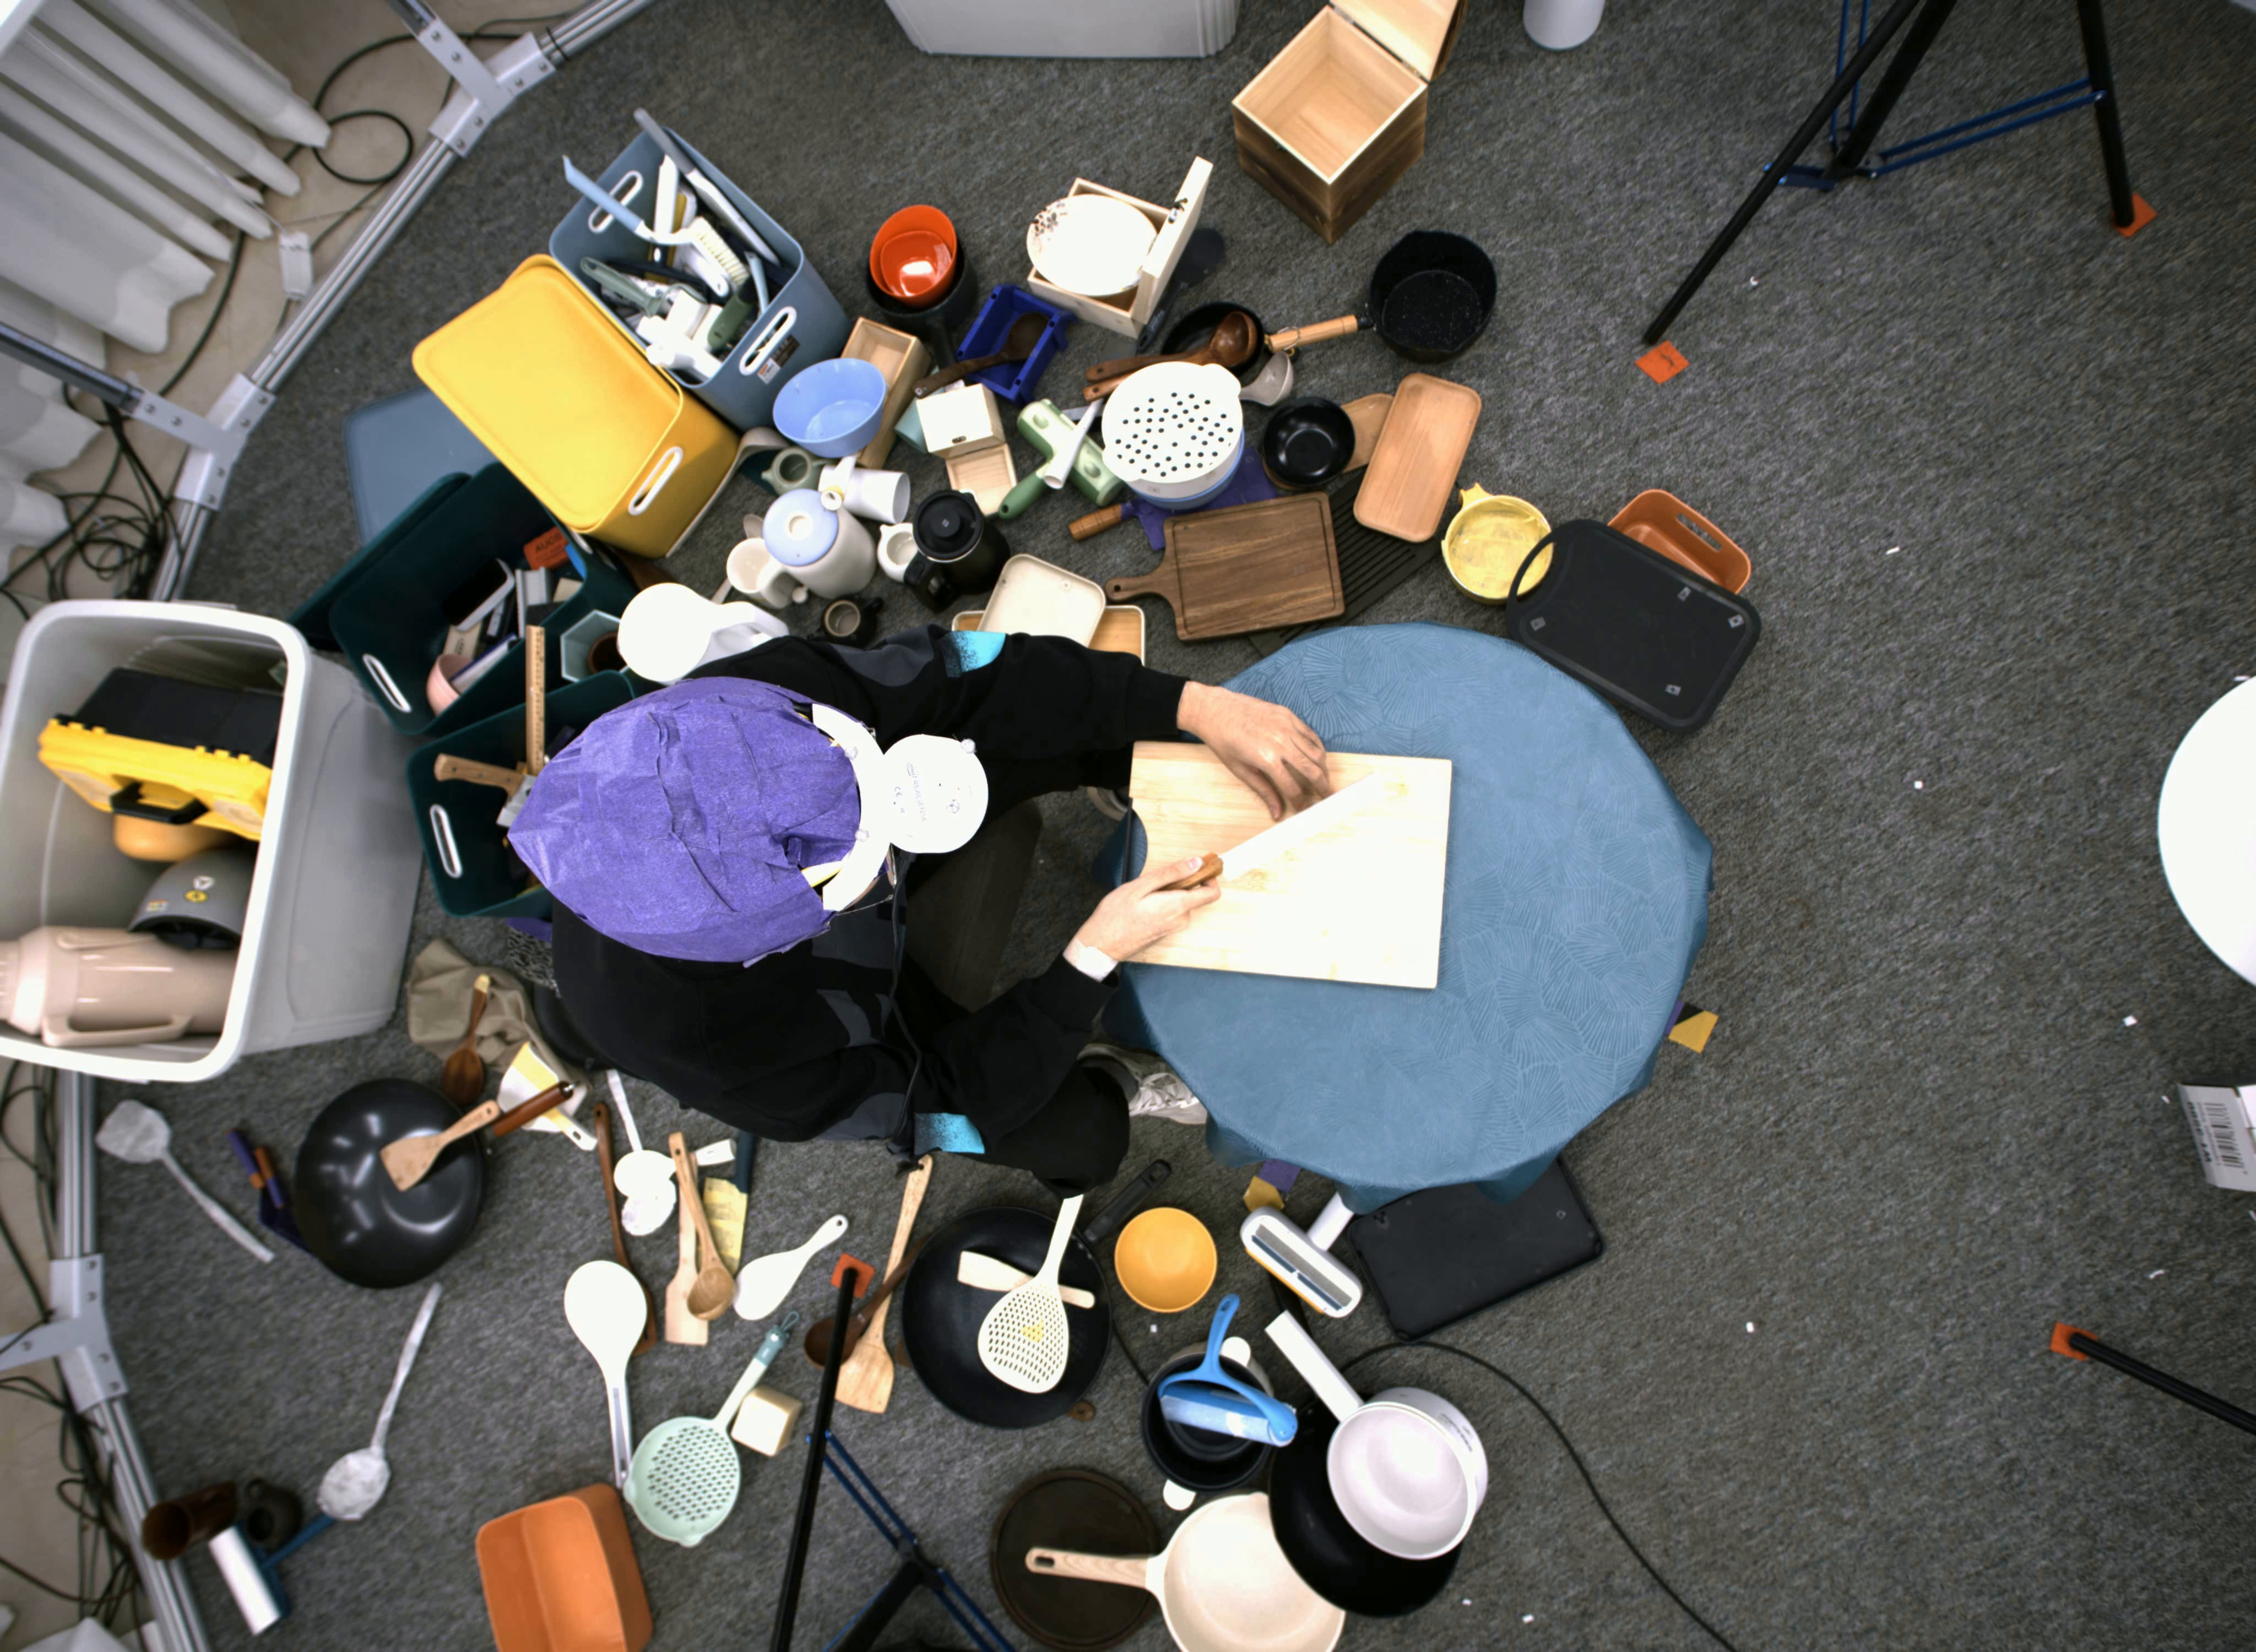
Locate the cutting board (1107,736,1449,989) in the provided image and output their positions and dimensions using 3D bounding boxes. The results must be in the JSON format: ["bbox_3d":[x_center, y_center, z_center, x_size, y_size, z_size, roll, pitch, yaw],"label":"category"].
[{"bbox_3d":[0.158,0.035,1.474,0.350,0.023,0.250,3,87,11],"label":"cutting board"}]

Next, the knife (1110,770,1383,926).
[{"bbox_3d":[0.125,0.026,1.419,0.307,0.093,0.021,-29,72,8],"label":"knife"}]
